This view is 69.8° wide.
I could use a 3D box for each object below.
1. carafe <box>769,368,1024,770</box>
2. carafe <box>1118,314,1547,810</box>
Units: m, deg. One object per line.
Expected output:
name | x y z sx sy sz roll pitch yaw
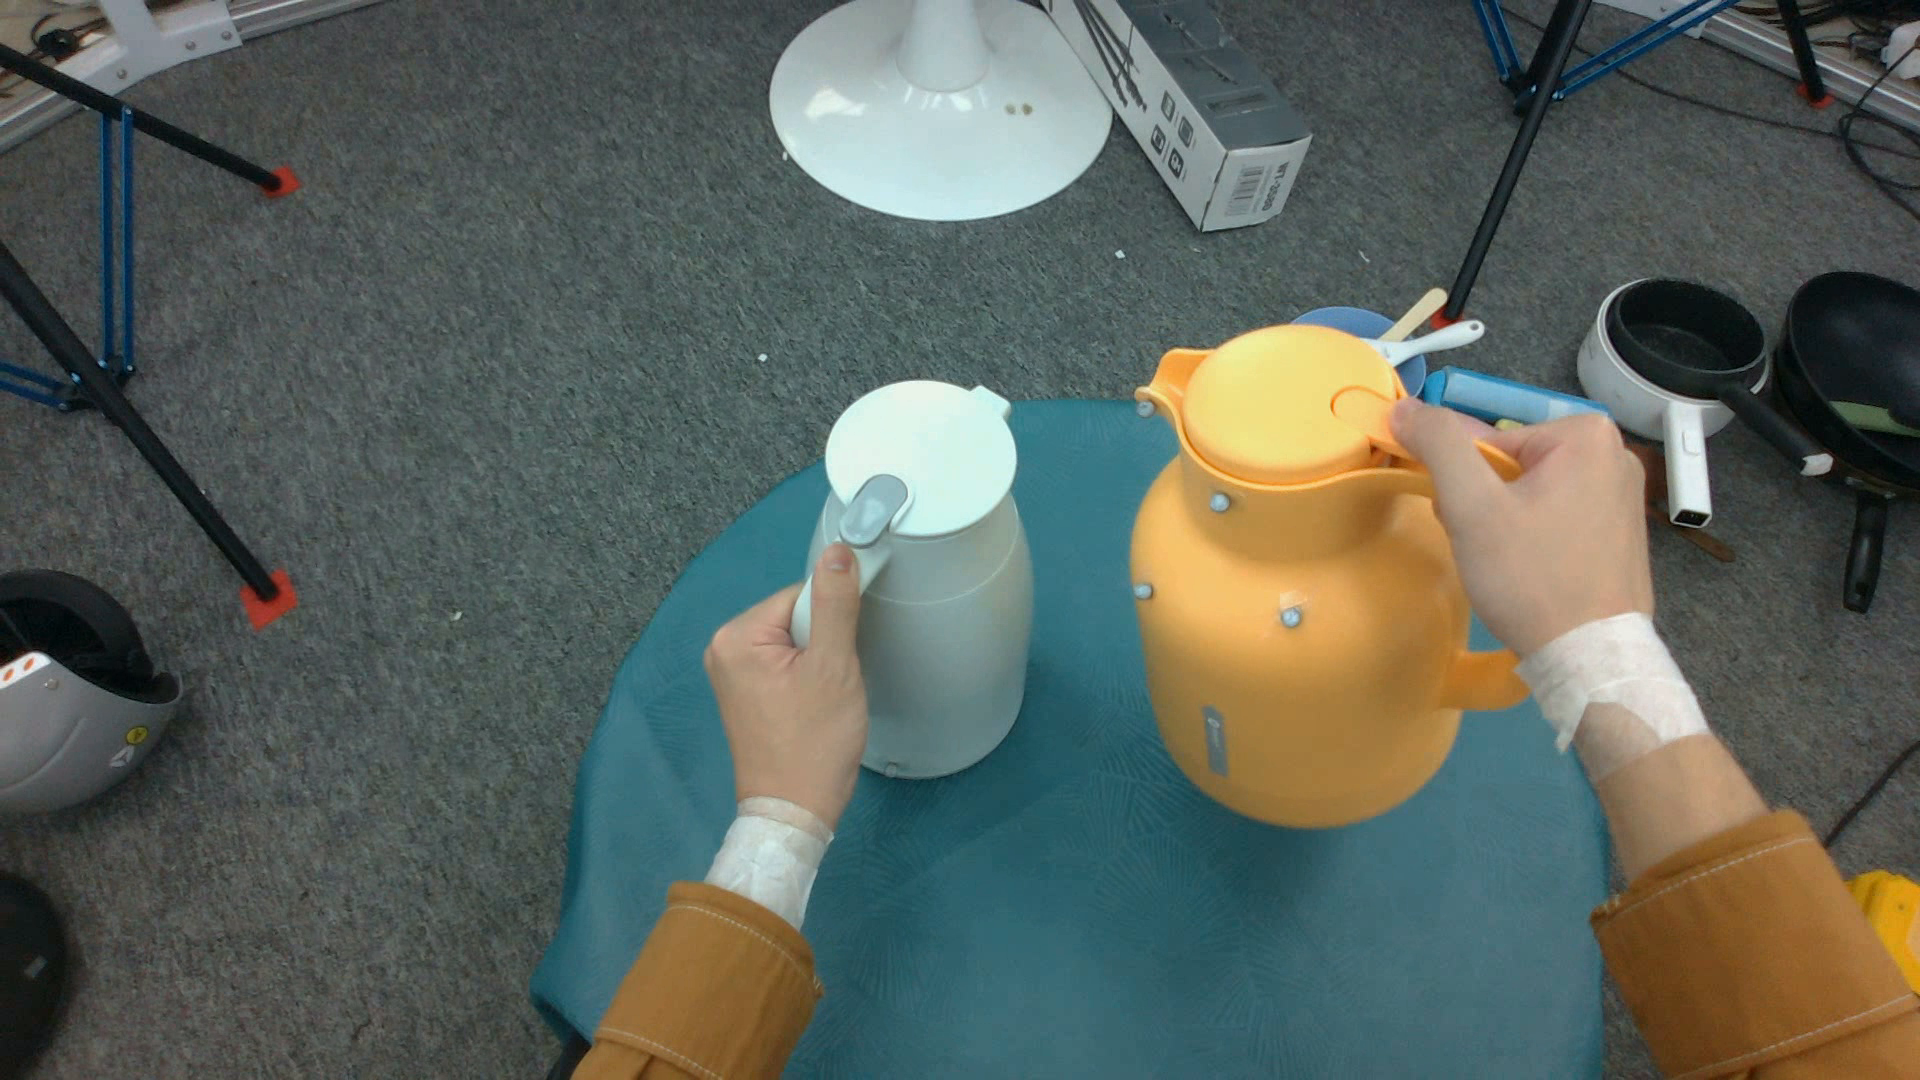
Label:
carafe | -0.038 0.030 0.741 0.132 0.247 0.168 30 62 16
carafe | 0.175 0.018 0.670 0.202 0.259 0.164 24 61 32
